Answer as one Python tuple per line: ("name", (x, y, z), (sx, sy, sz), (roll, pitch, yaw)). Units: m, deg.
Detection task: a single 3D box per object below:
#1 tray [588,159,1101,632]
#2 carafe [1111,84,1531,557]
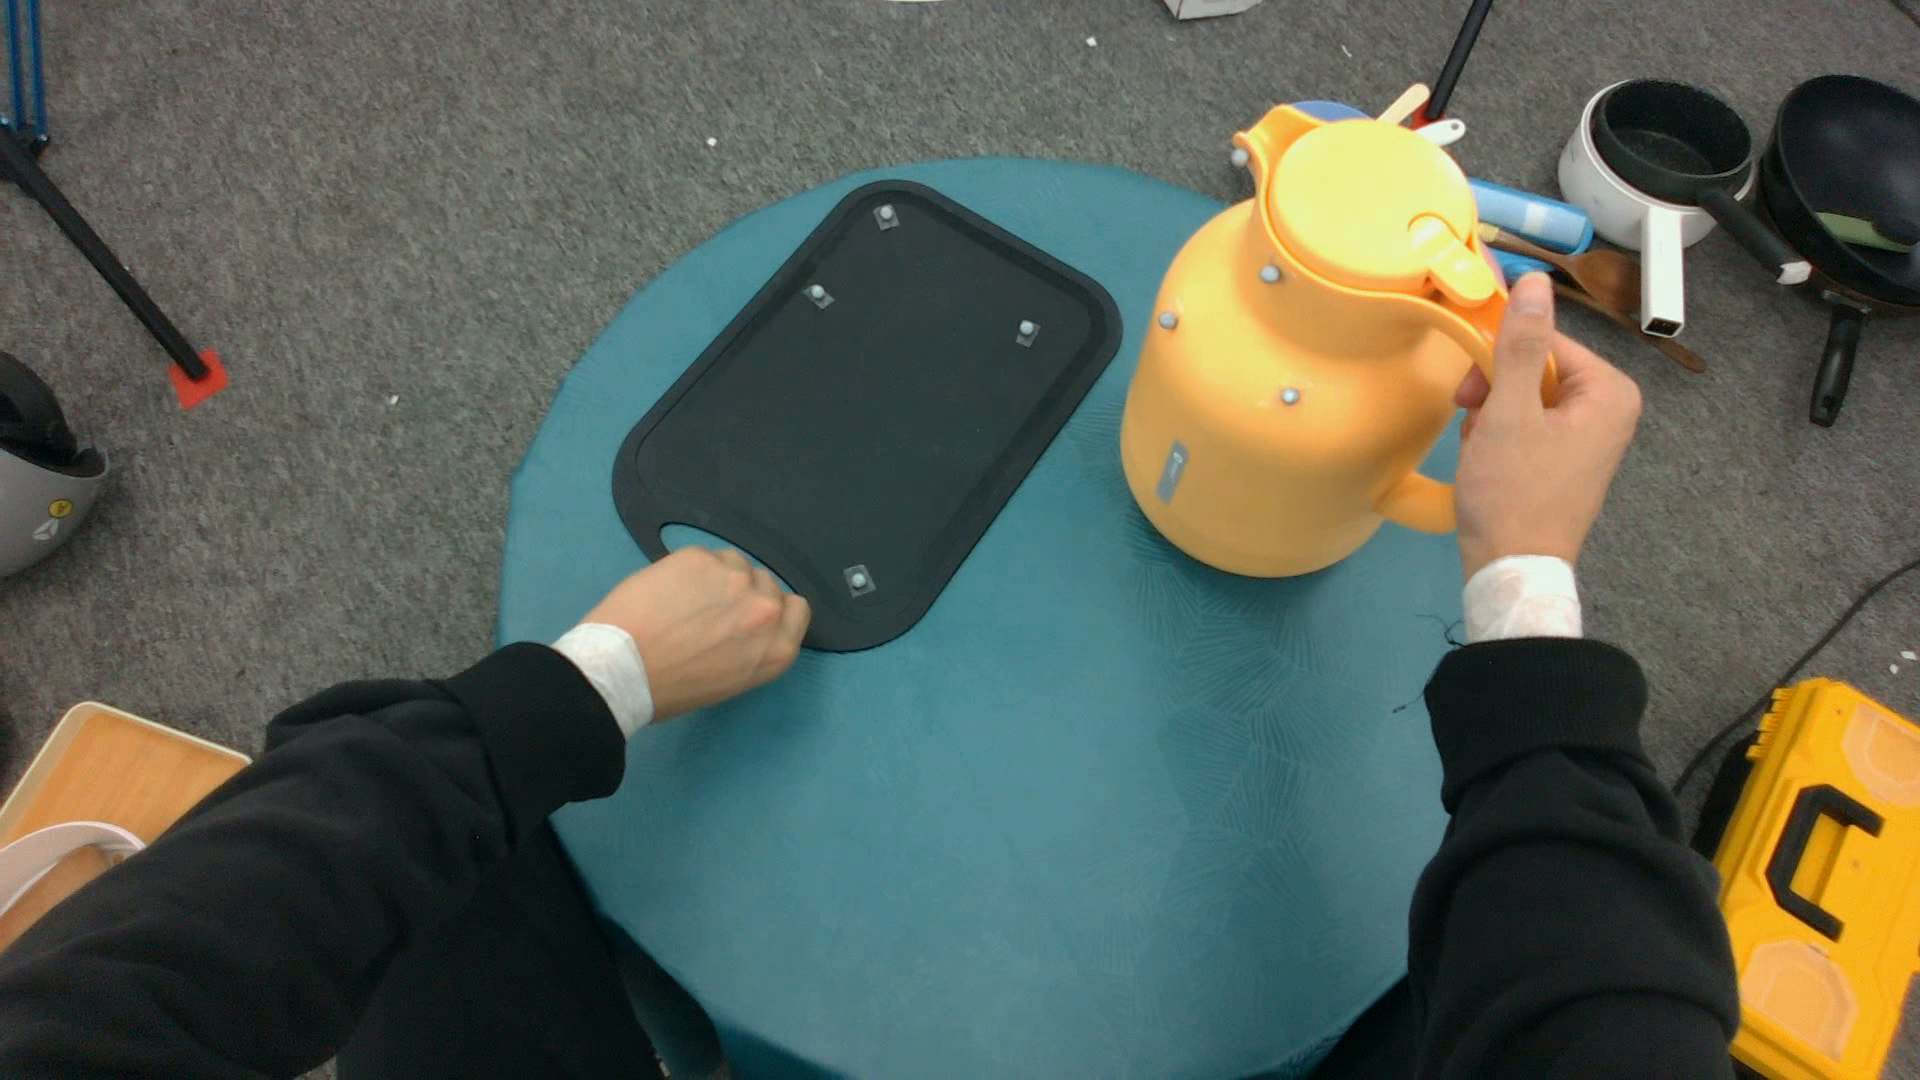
("tray", (-0.067, -0.095, 0.832), (0.211, 0.010, 0.327), (32, 66, 11))
("carafe", (0.181, -0.094, 0.709), (0.164, 0.259, 0.202), (-35, 69, -15))
